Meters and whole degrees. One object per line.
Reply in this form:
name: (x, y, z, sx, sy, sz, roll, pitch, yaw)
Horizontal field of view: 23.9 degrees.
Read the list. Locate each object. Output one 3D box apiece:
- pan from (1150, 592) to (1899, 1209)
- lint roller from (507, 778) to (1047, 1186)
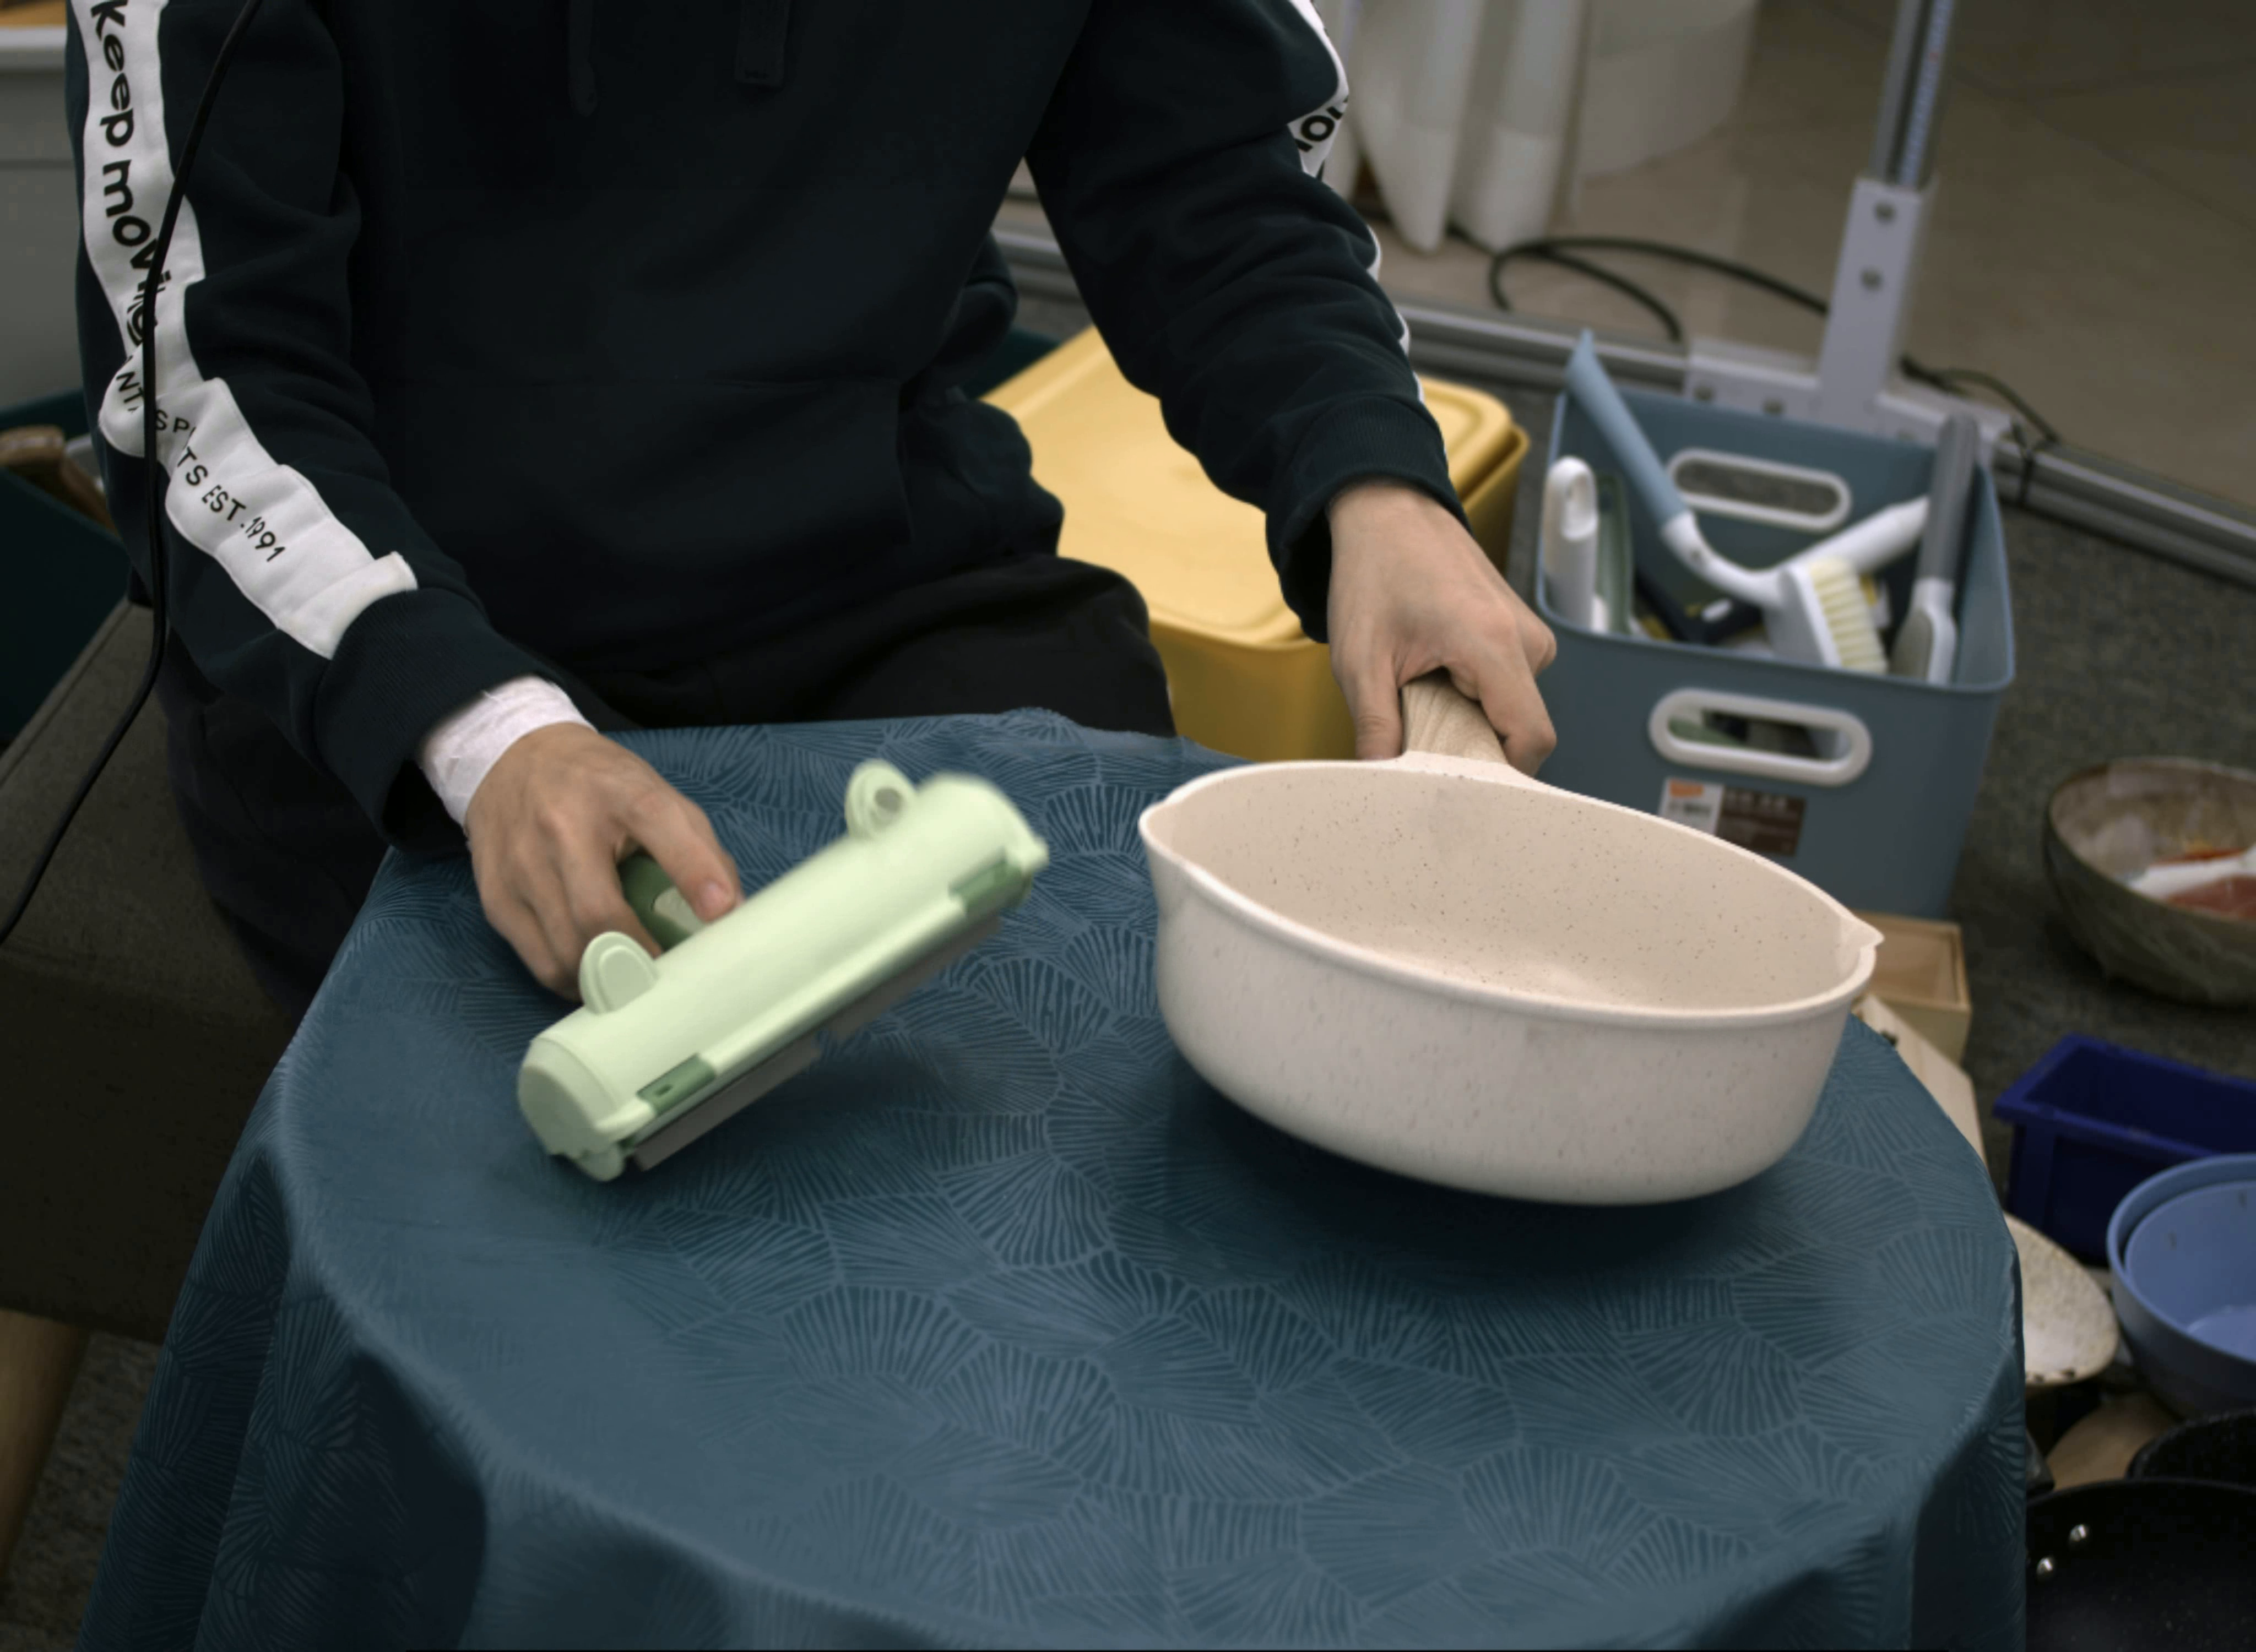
pan: (0.124, 0.023, 1.917, 0.262, 0.102, 0.437, 6, 17, -7)
lint roller: (-0.155, 0.027, 1.835, 0.198, 0.082, 0.185, -31, 41, -28)
